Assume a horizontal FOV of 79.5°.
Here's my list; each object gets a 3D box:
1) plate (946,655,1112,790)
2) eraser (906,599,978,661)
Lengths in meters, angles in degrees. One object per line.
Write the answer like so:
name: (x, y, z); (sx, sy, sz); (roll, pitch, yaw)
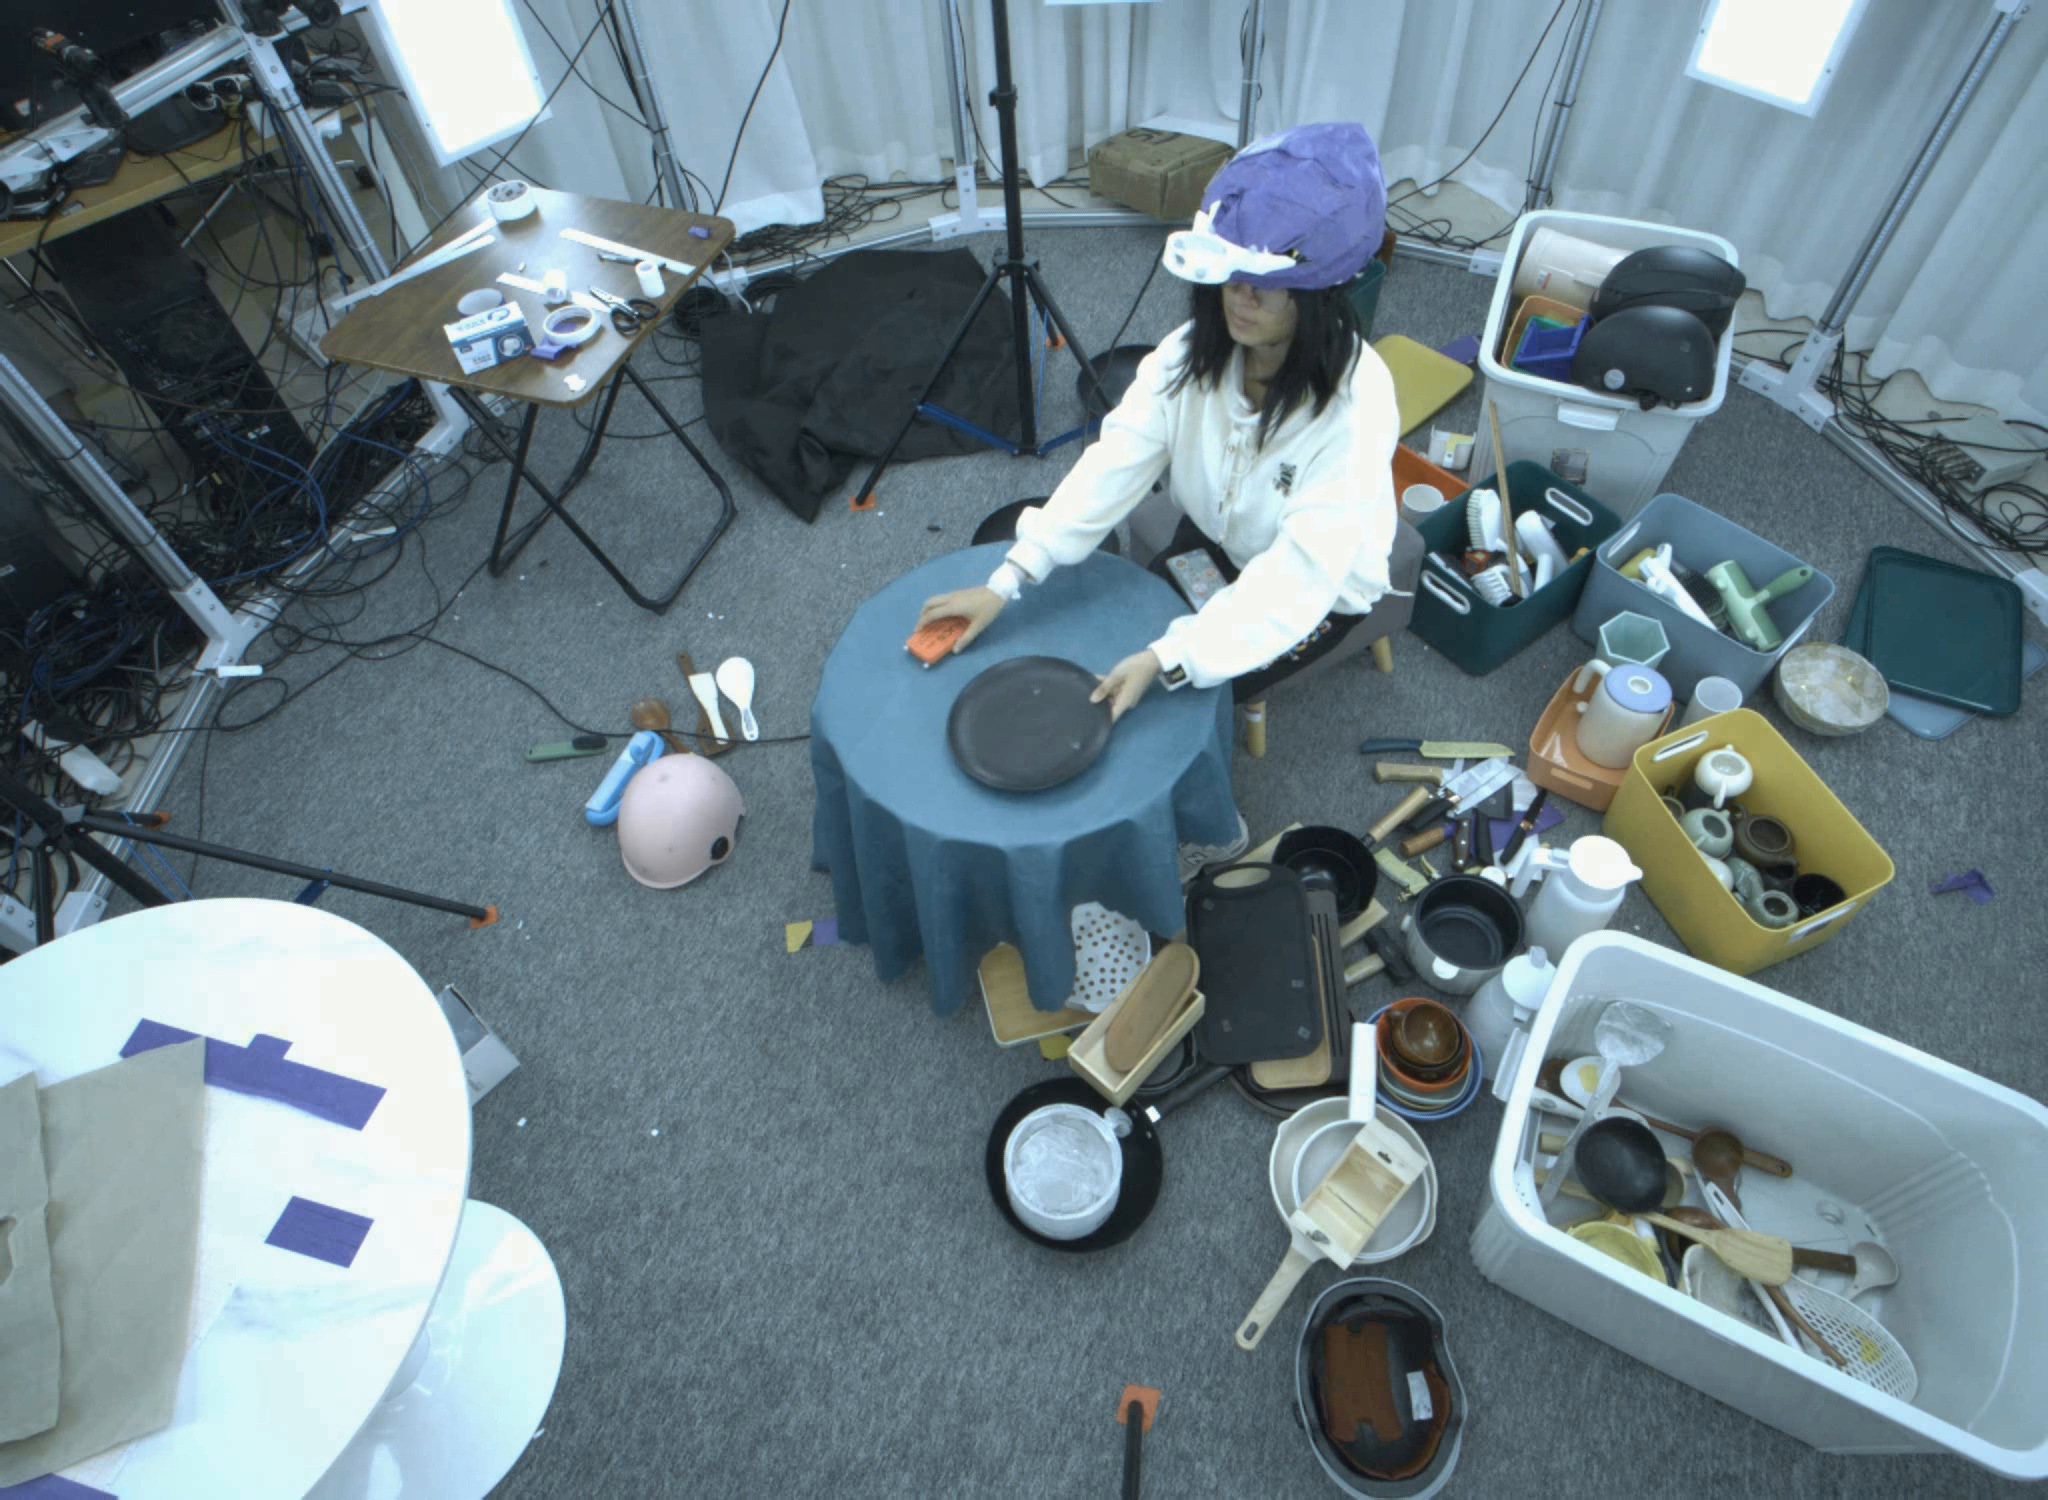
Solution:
plate: (0.008, -0.038, 1.791); (0.243, 0.024, 0.242); (-3, 55, 6)
eraser: (-0.127, -0.186, 1.894); (0.058, 0.023, 0.109); (35, 64, 29)
